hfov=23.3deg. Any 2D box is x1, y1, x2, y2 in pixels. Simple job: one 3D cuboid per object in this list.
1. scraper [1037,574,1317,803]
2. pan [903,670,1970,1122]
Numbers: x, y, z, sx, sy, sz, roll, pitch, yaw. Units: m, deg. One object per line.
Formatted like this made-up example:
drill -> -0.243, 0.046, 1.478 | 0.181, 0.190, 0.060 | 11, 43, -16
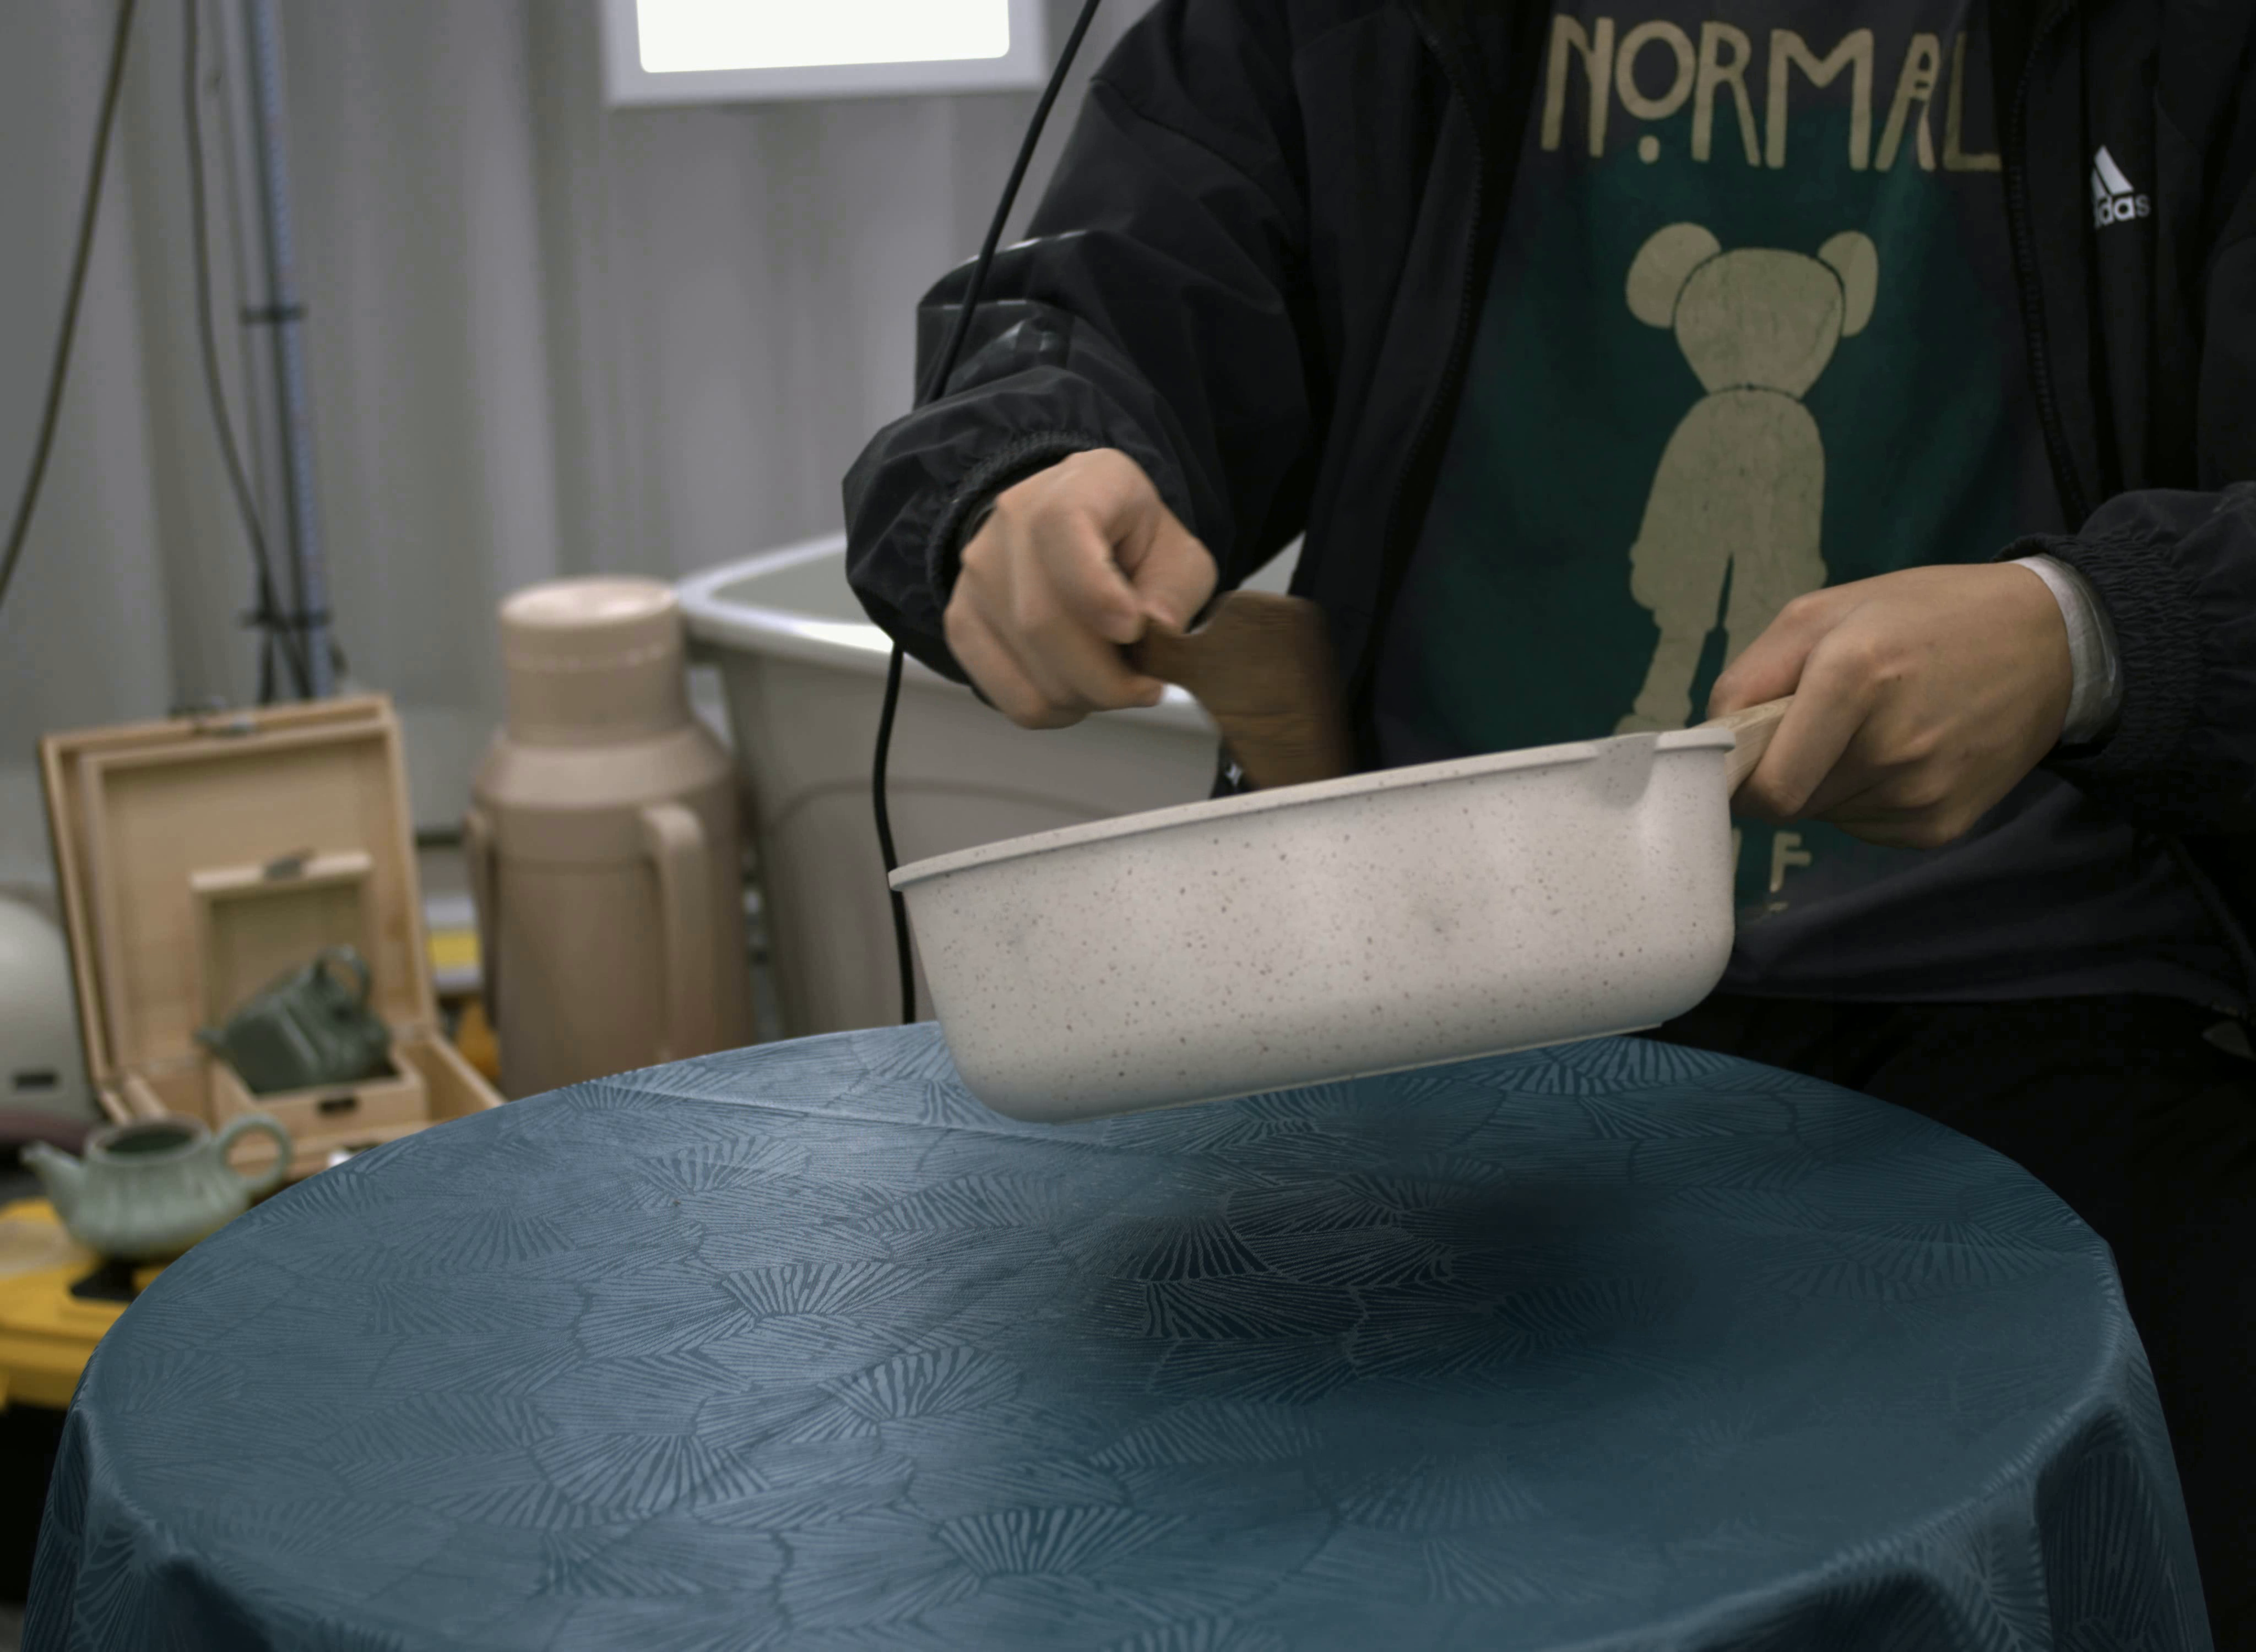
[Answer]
scraper -> 0.010, -0.049, 1.680 | 0.011, 0.075, 0.213 | -17, 16, -17
pan -> 0.128, 0.016, 1.660 | 0.433, 0.102, 0.263 | -6, -6, -44
